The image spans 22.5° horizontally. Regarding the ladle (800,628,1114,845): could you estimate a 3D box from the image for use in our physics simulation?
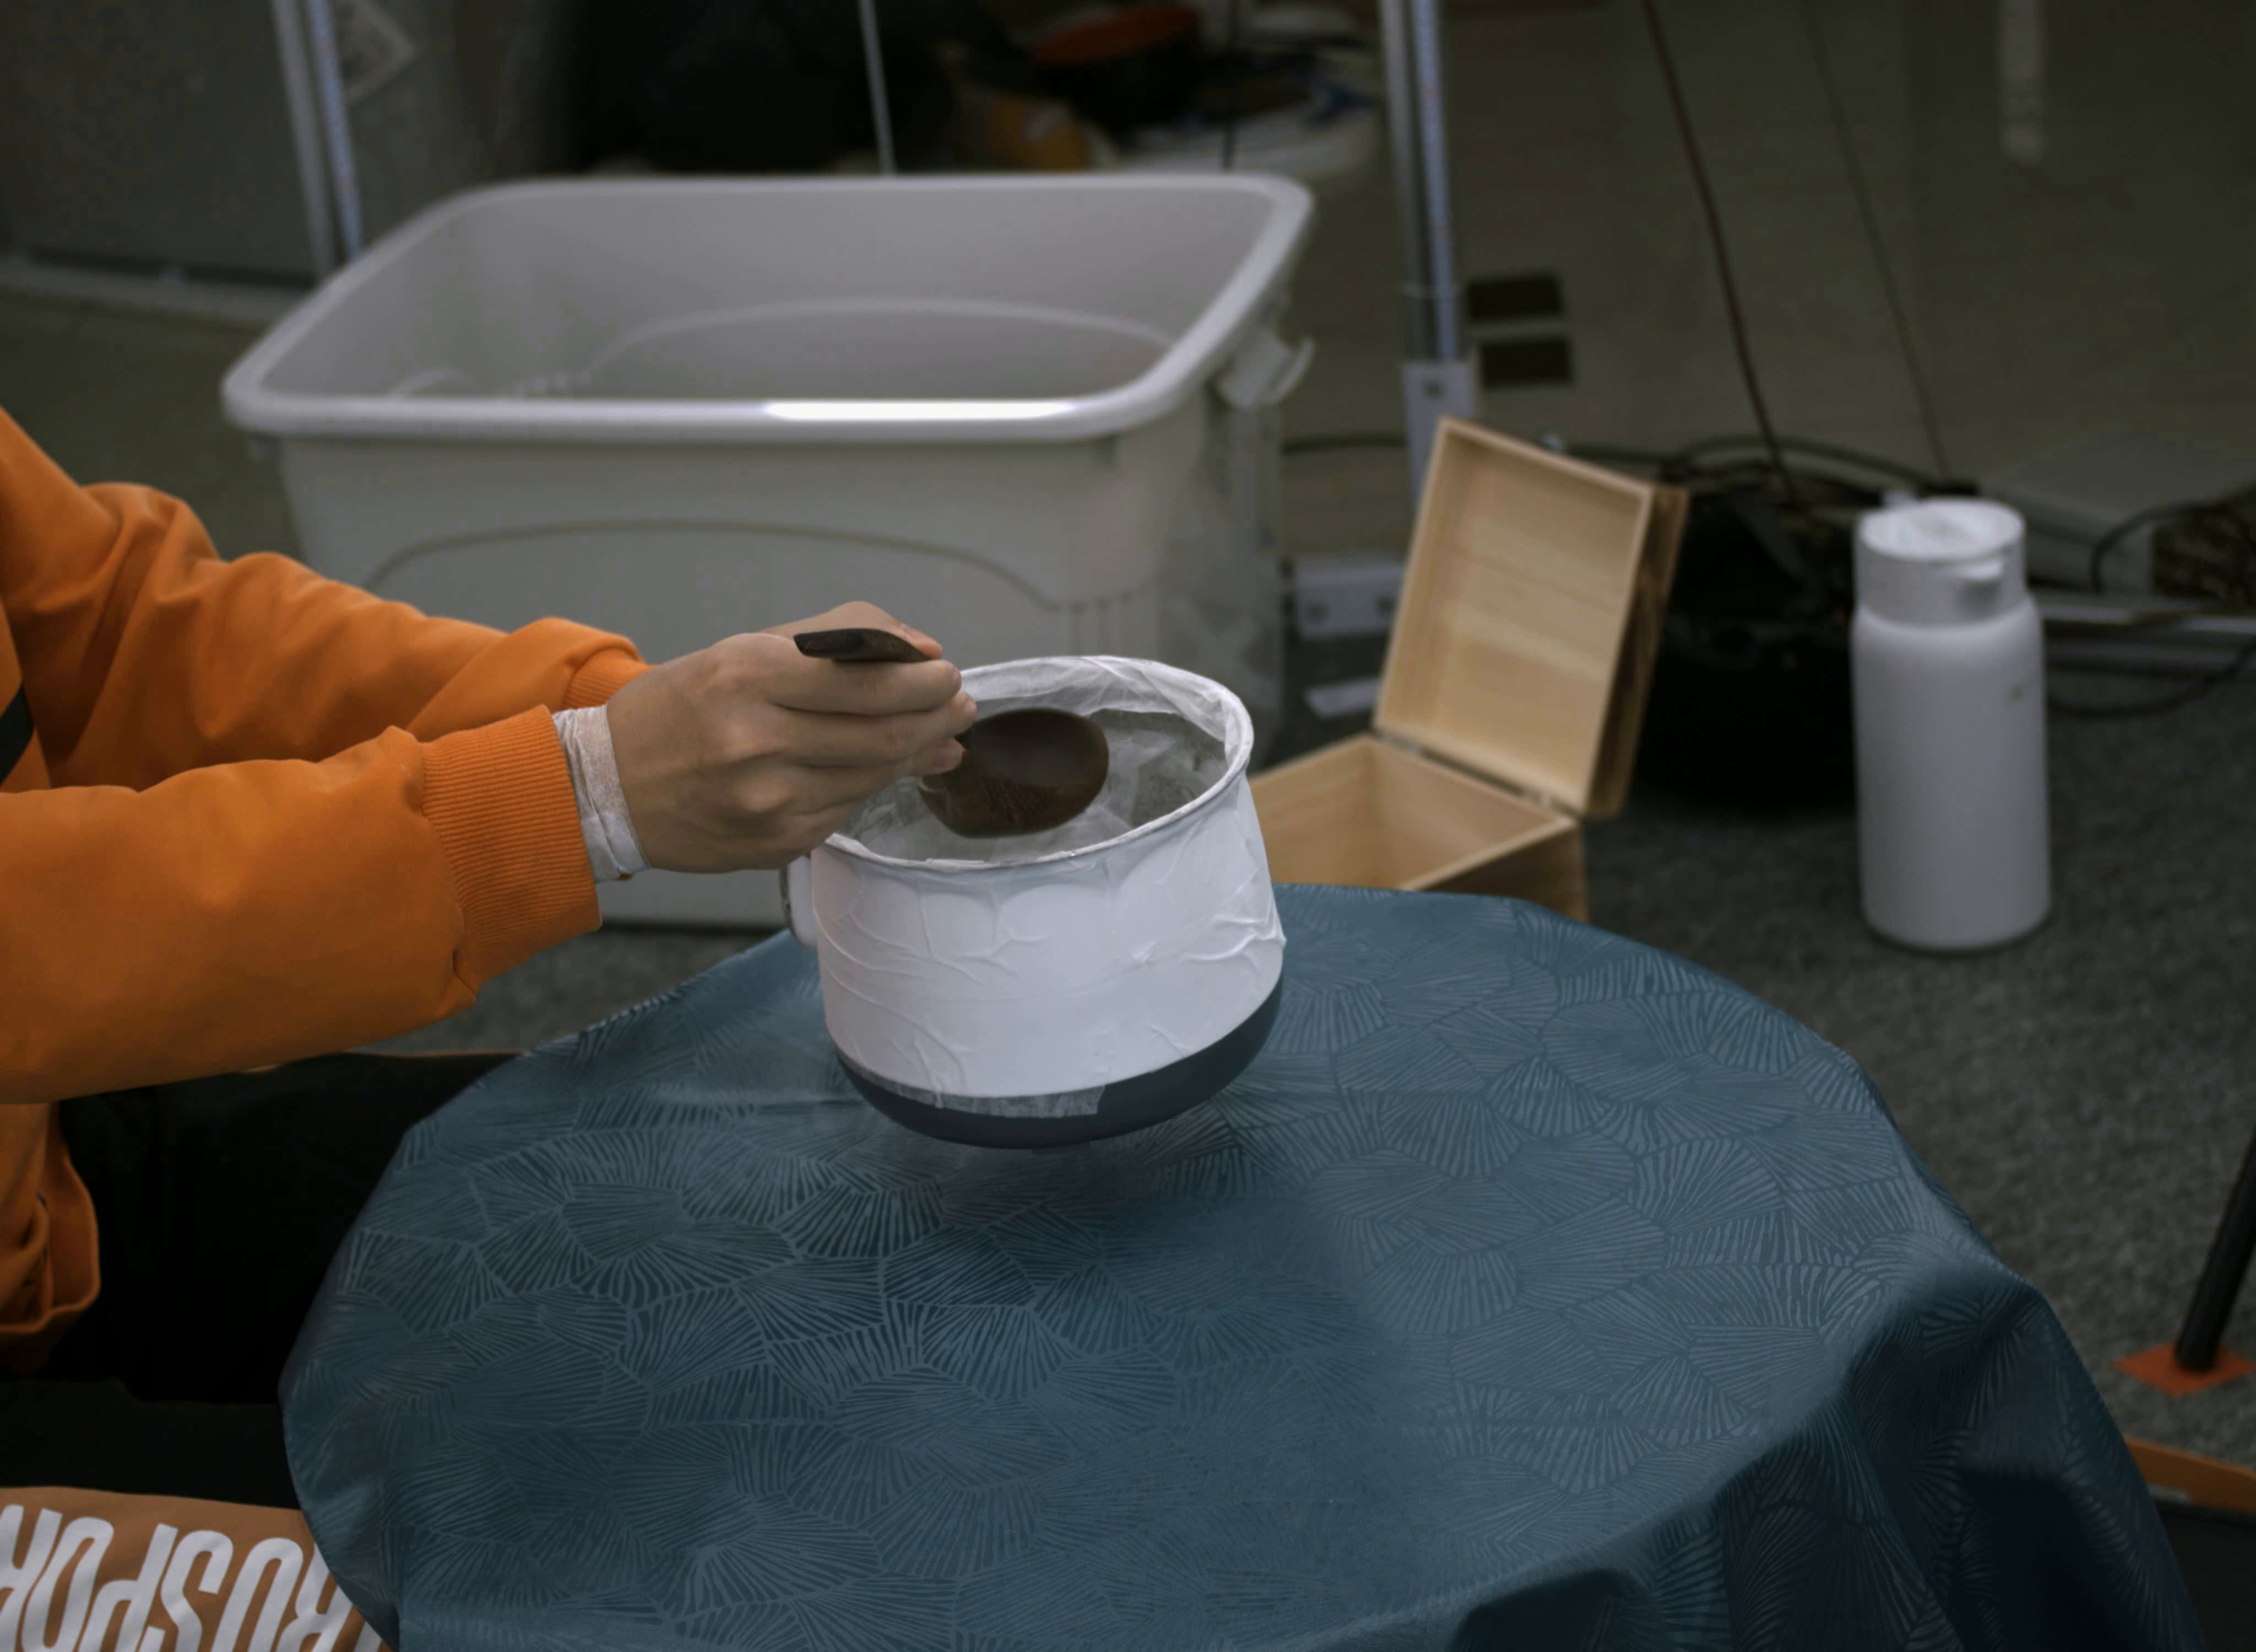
[{"bbox_3d":[-0.067,-0.052,2.028,0.076,0.070,0.277,-7,-19,12],"label":"ladle"}]

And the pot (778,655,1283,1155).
[{"bbox_3d":[-0.052,0.024,2.163,0.232,0.139,0.177,19,37,41],"label":"pot"}]
